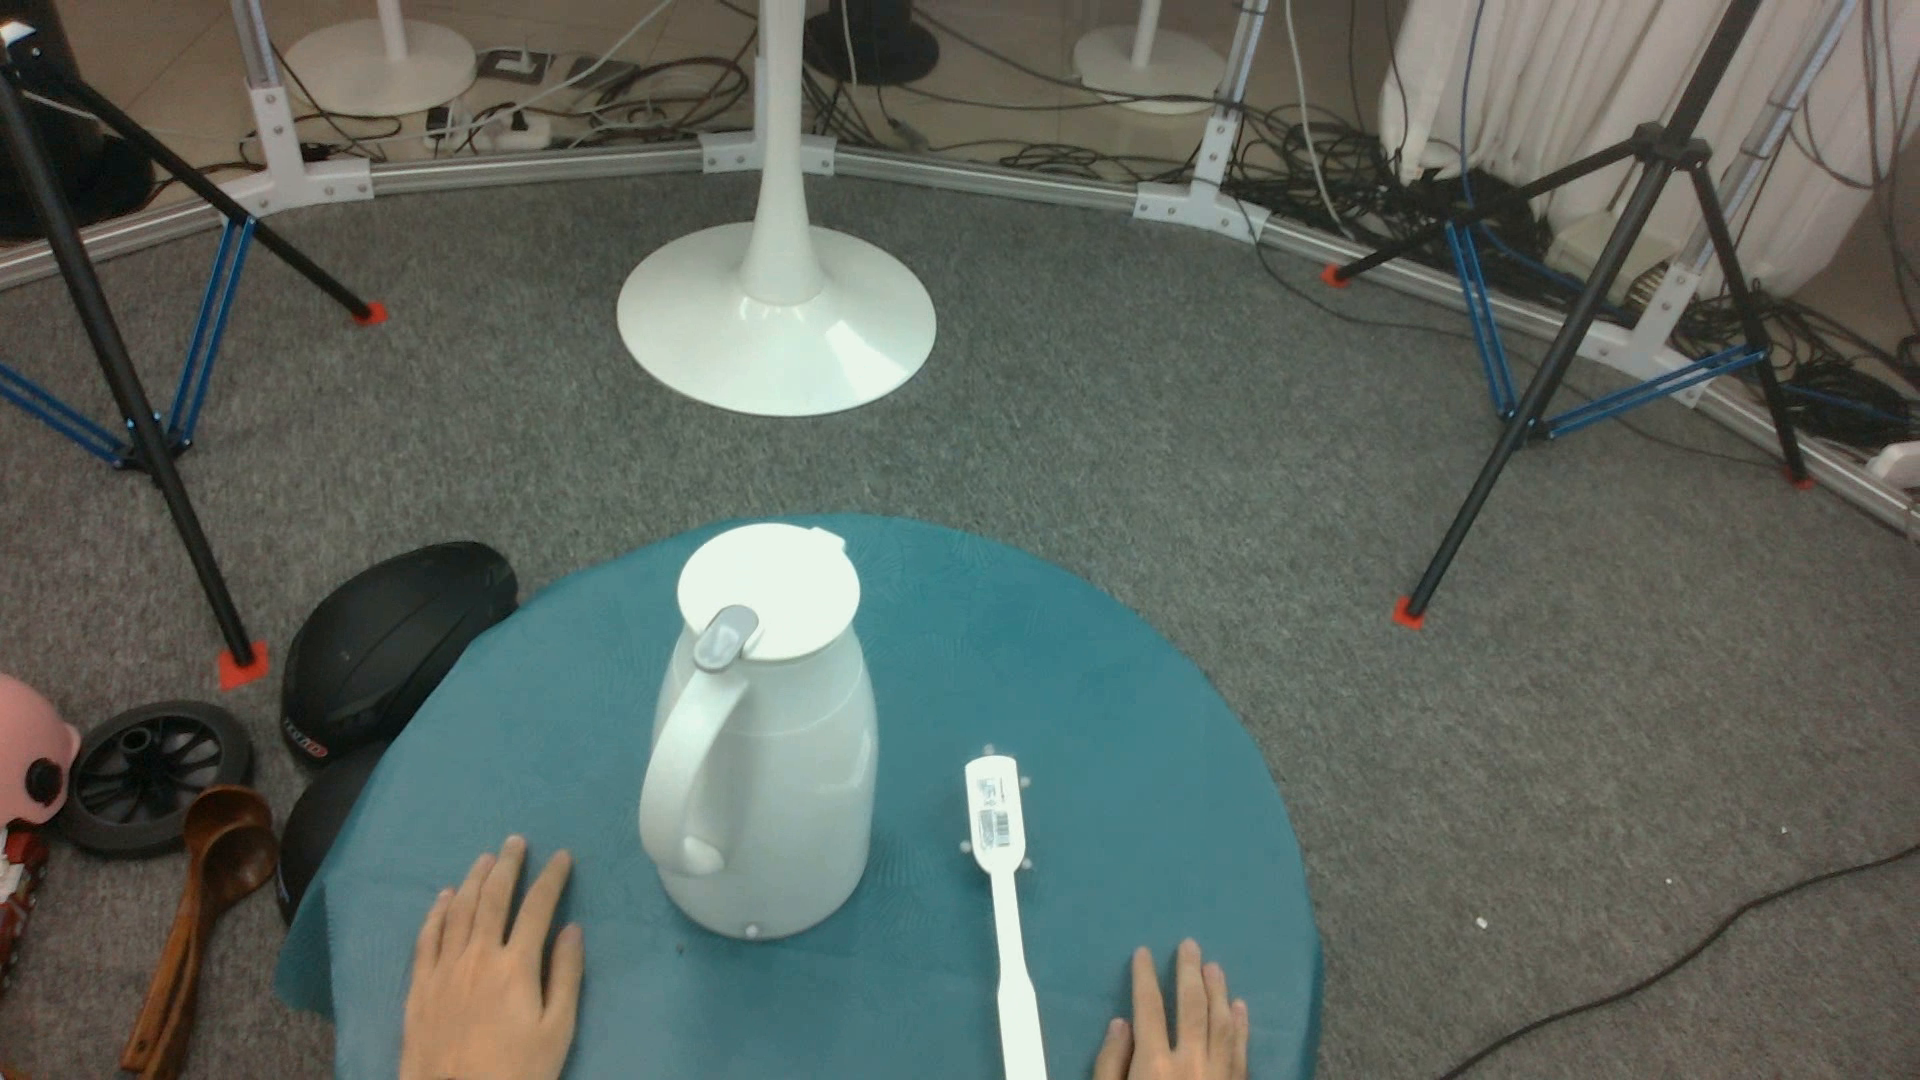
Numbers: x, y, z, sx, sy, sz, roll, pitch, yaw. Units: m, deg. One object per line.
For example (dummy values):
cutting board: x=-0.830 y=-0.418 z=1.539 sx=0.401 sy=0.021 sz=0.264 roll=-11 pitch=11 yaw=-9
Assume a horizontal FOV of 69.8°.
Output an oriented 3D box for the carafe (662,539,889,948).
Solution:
carafe: x=-0.111 y=0.126 z=0.777 sx=0.132 sy=0.247 sz=0.168 roll=21 pitch=46 yaw=12

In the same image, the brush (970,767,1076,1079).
brush: x=0.040 y=0.248 z=0.830 sx=0.034 sy=0.050 sz=0.244 roll=-7 pitch=57 yaw=-6
